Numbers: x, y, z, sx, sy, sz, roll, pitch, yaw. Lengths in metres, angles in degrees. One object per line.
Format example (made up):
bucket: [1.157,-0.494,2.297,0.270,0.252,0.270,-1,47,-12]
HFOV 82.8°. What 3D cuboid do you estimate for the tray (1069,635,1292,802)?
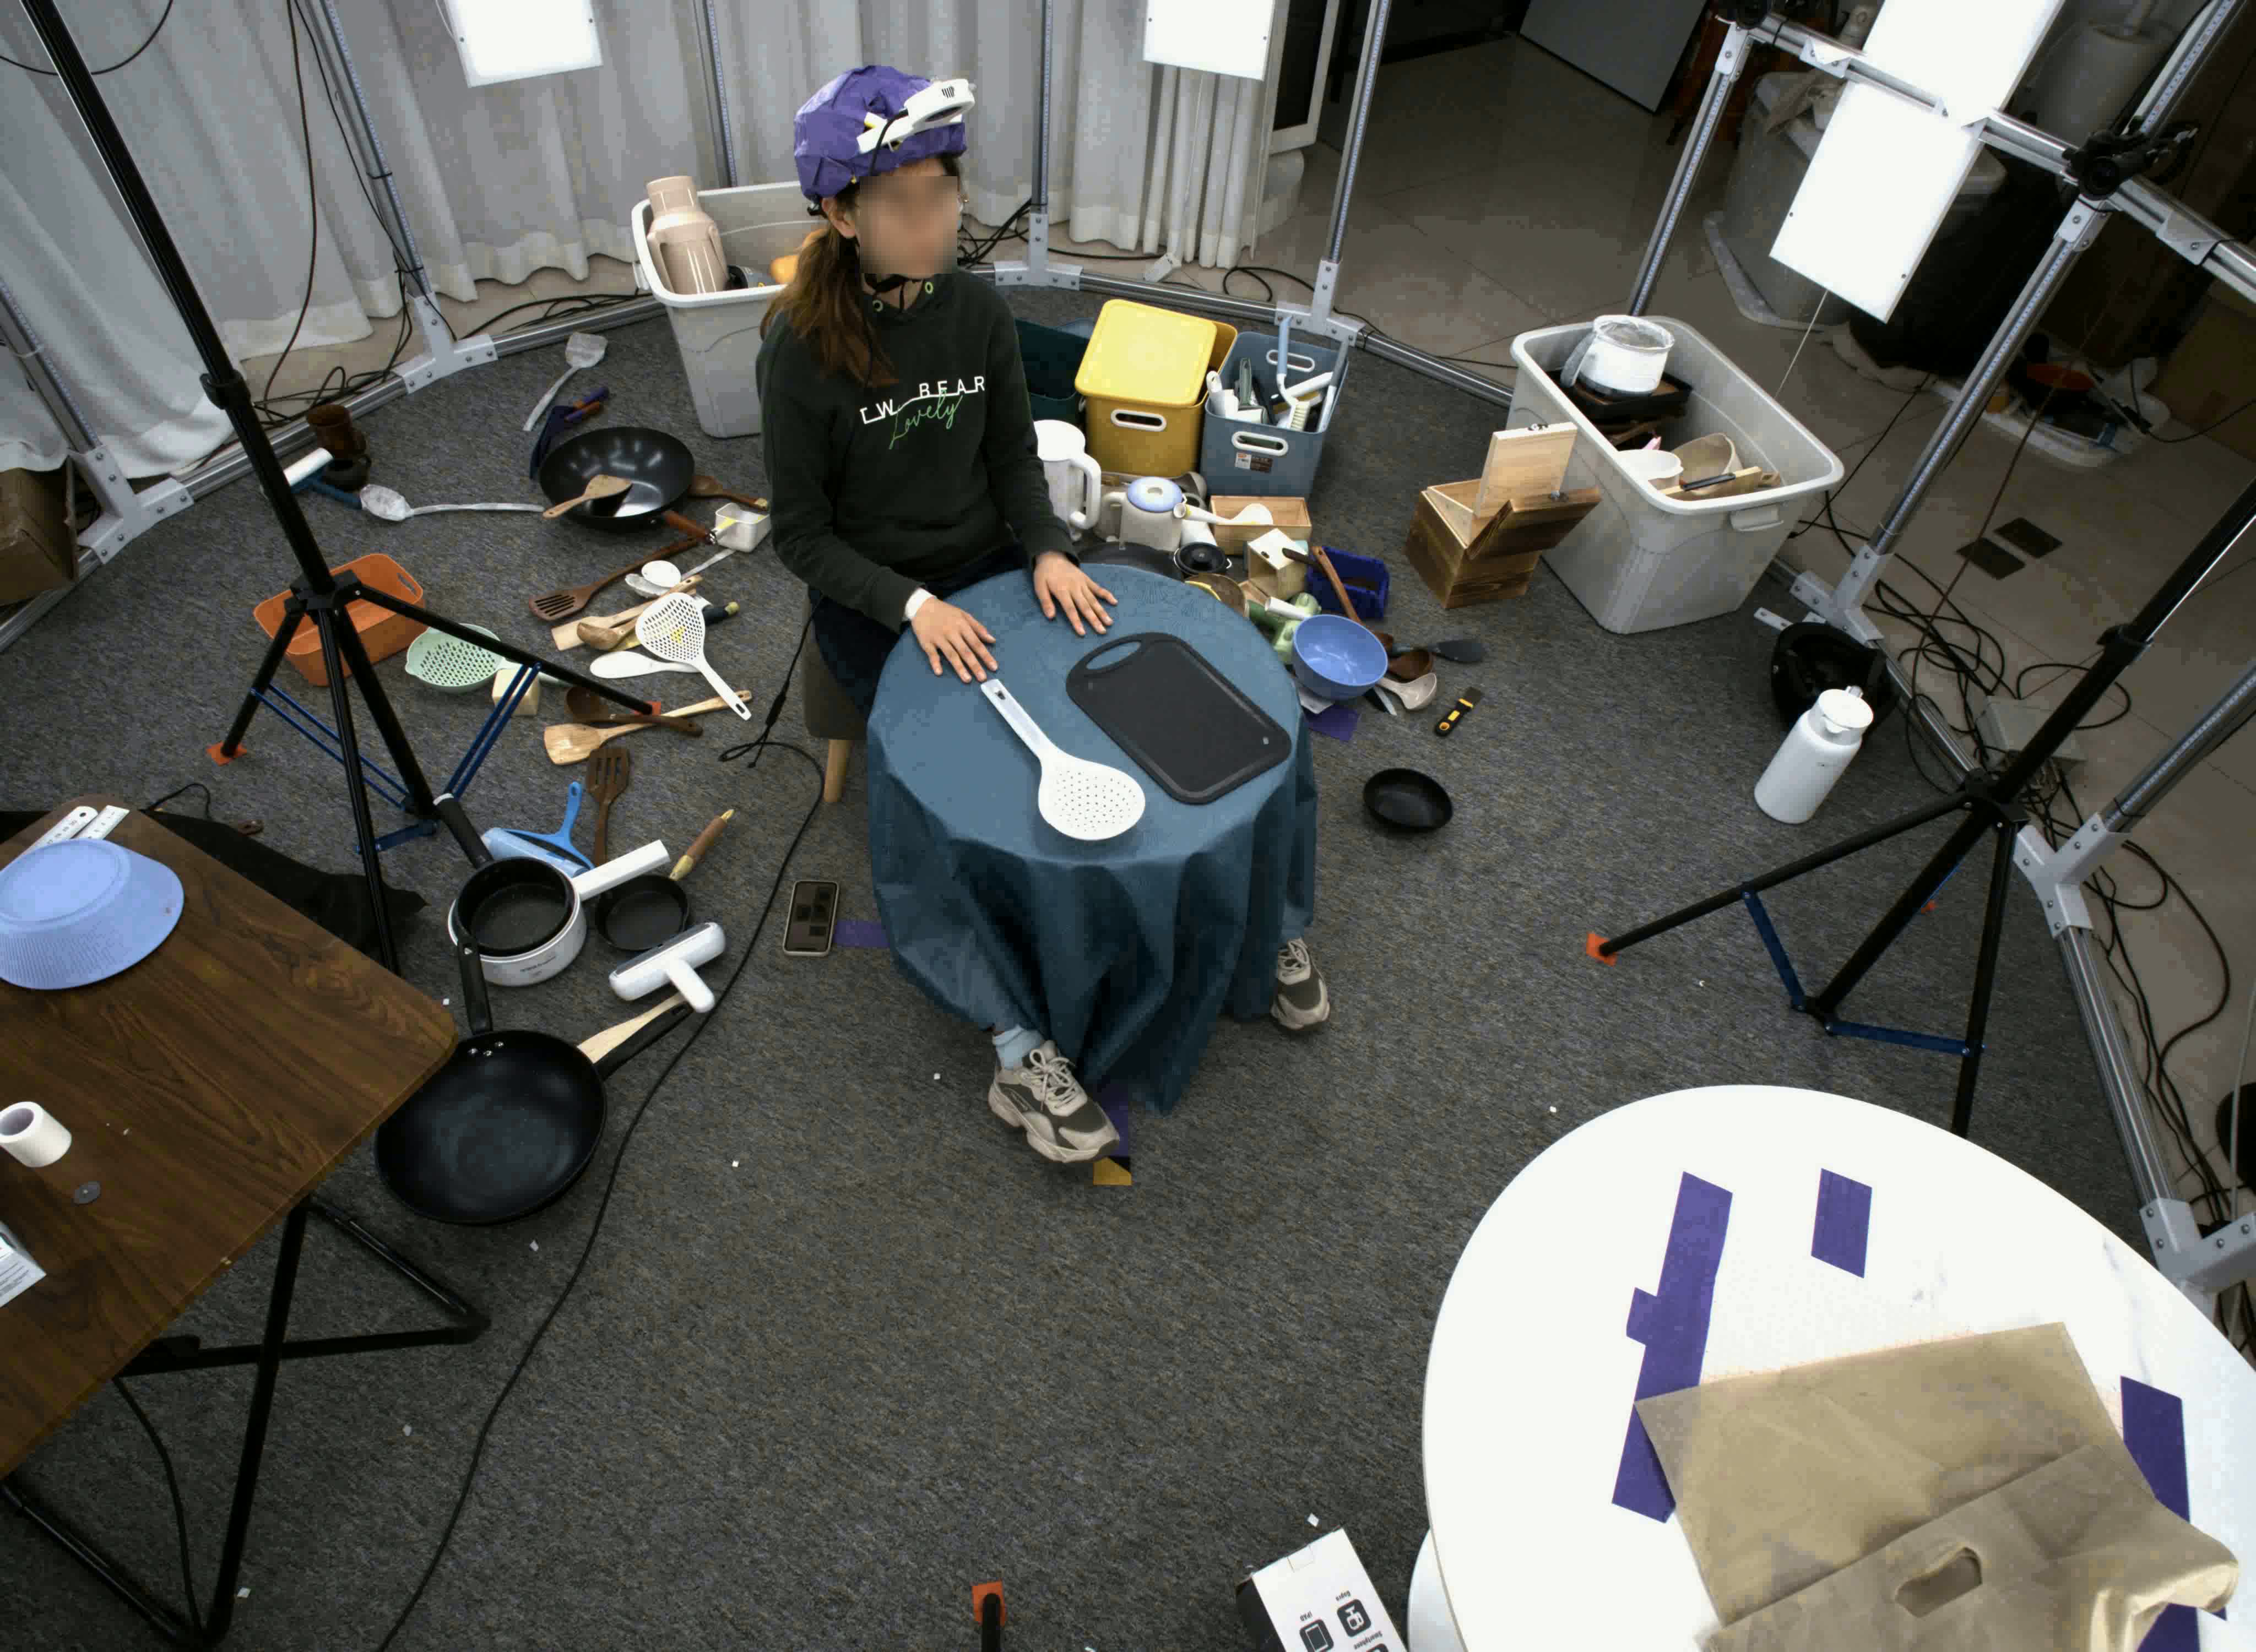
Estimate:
tray: [0.066,-0.164,1.827,0.212,0.009,0.331,-28,56,-26]

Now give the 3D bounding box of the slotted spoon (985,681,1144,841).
slotted spoon: [-0.104,-0.093,1.728,0.136,0.044,0.357,-21,53,-23]
